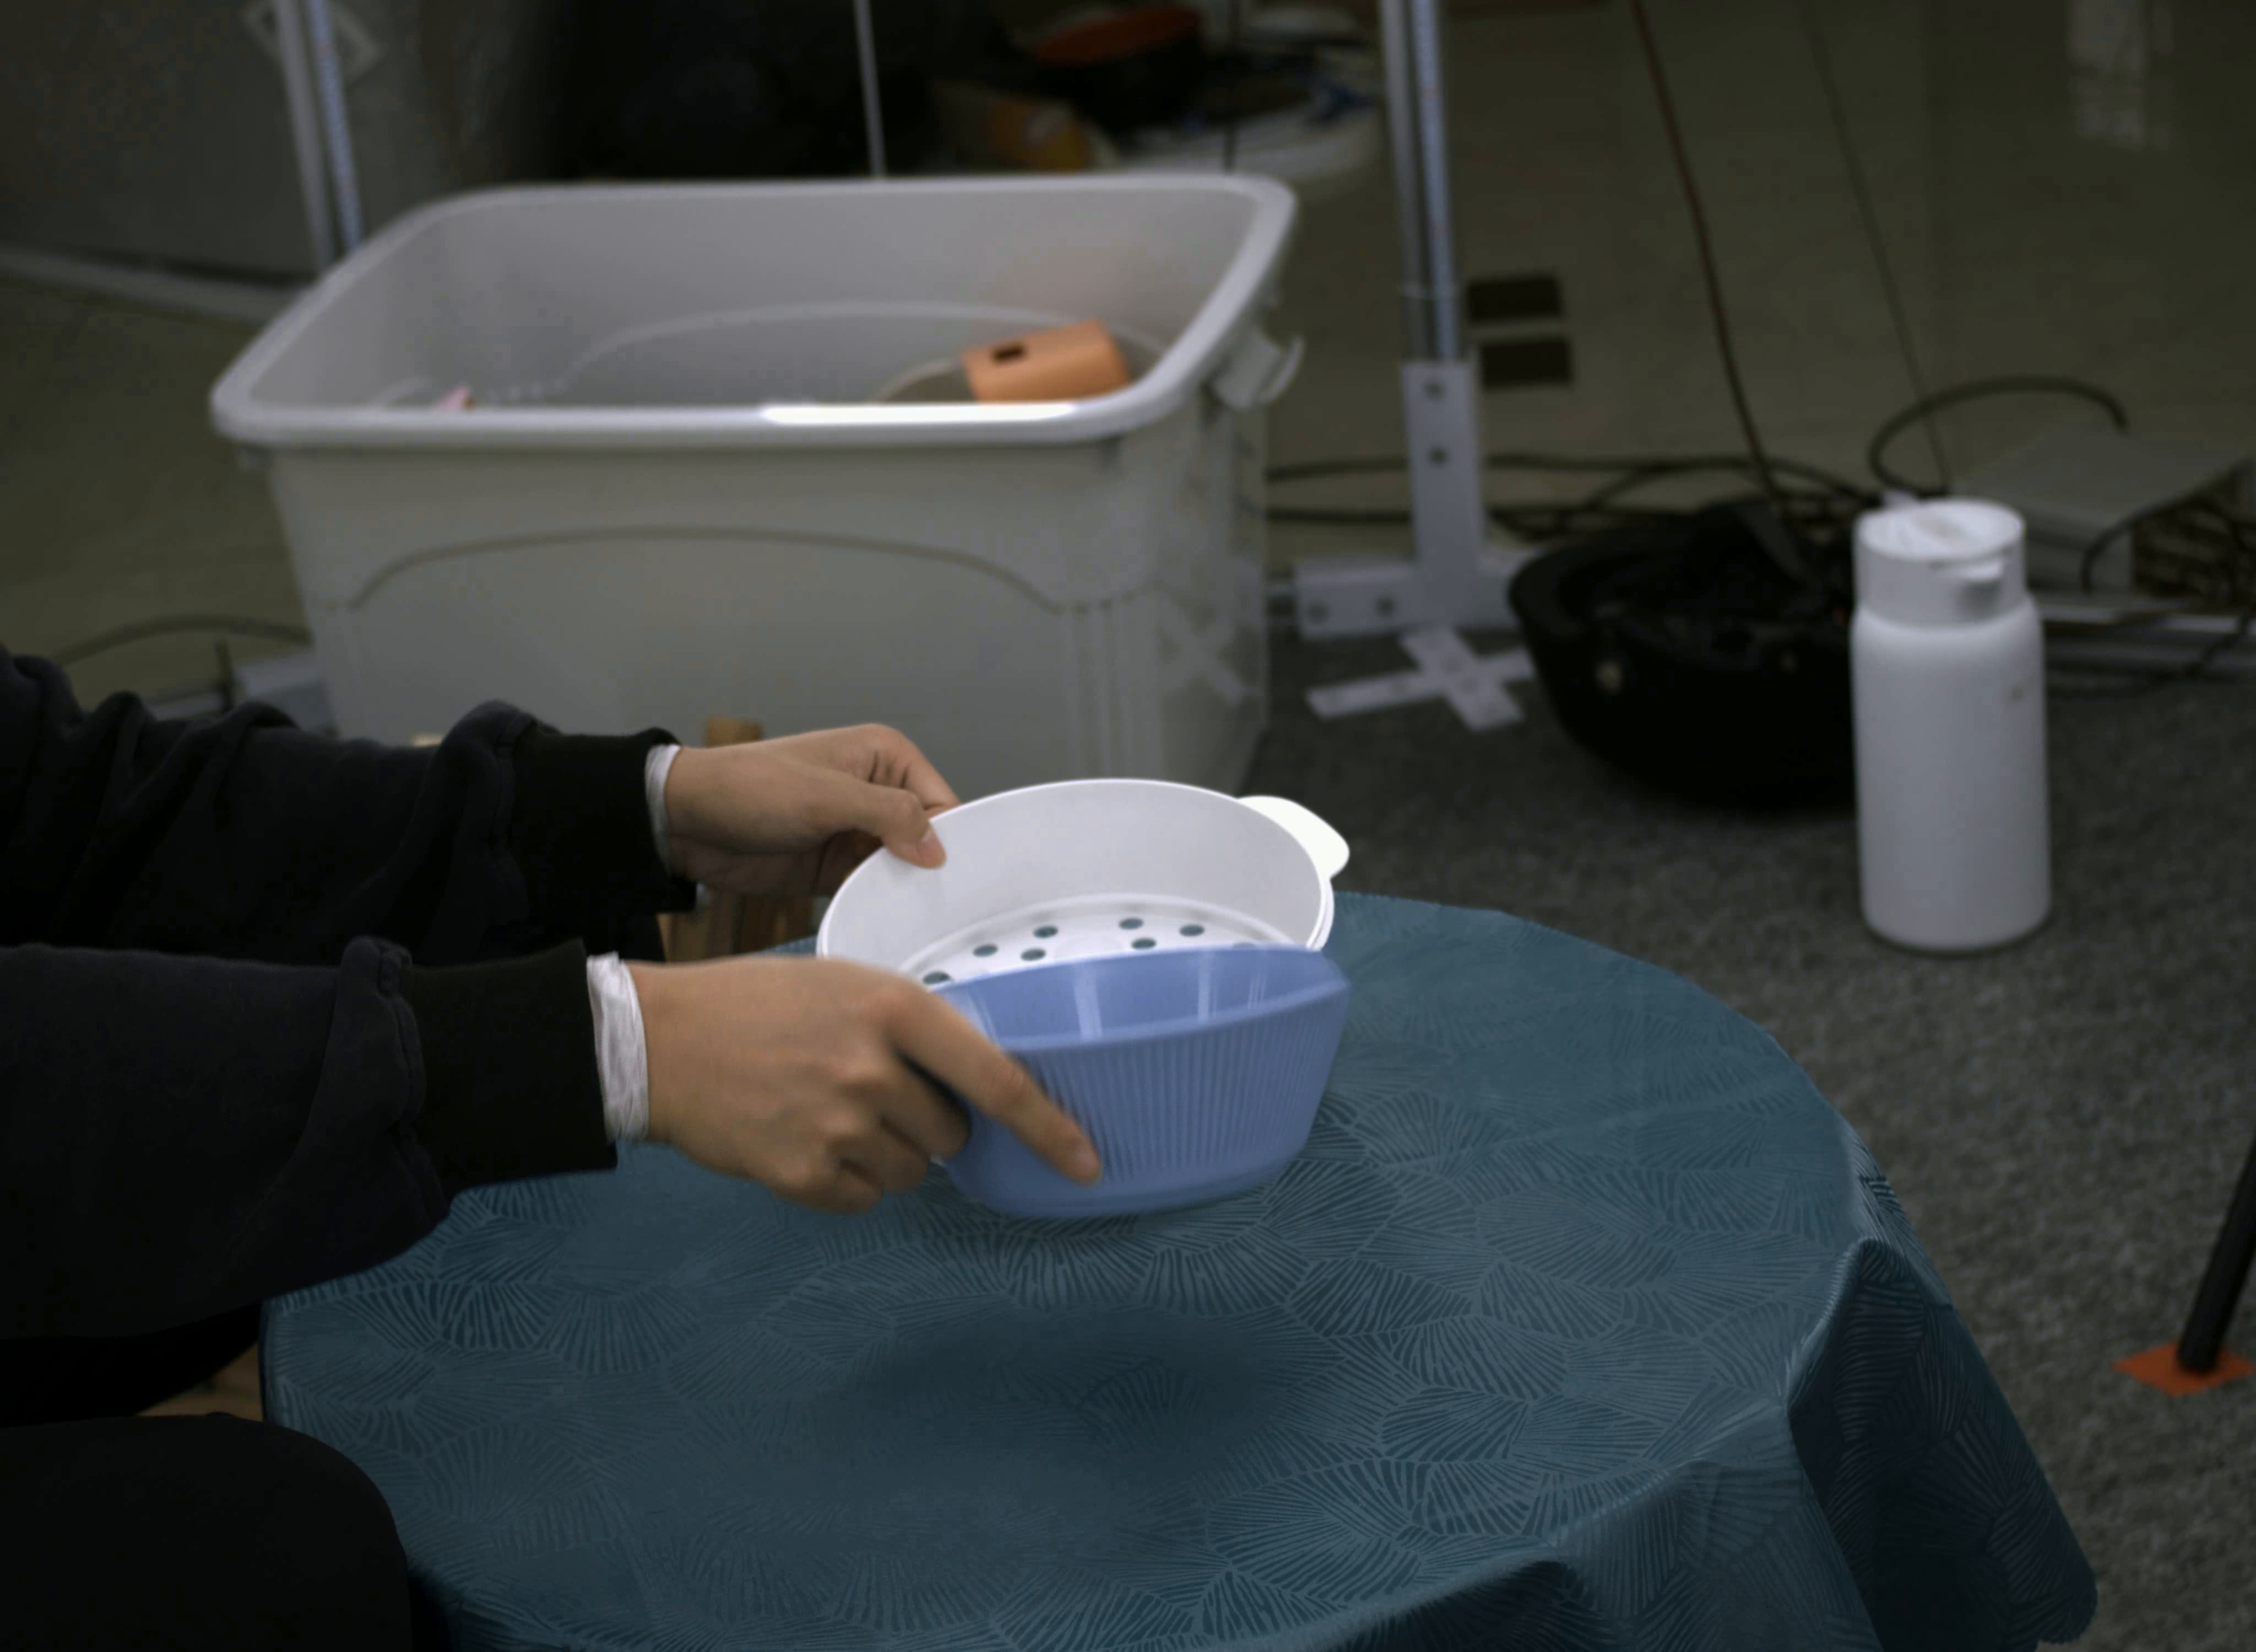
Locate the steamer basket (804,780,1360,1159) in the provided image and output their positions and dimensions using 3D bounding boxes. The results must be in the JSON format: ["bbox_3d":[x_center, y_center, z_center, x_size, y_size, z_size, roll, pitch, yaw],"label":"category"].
[{"bbox_3d":[-0.014,0.060,2.202,0.229,0.070,0.199,-21,35,-24],"label":"steamer basket"}]

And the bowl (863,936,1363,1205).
[{"bbox_3d":[-0.001,0.087,1.971,0.176,0.071,0.175,-8,6,1],"label":"bowl"}]
